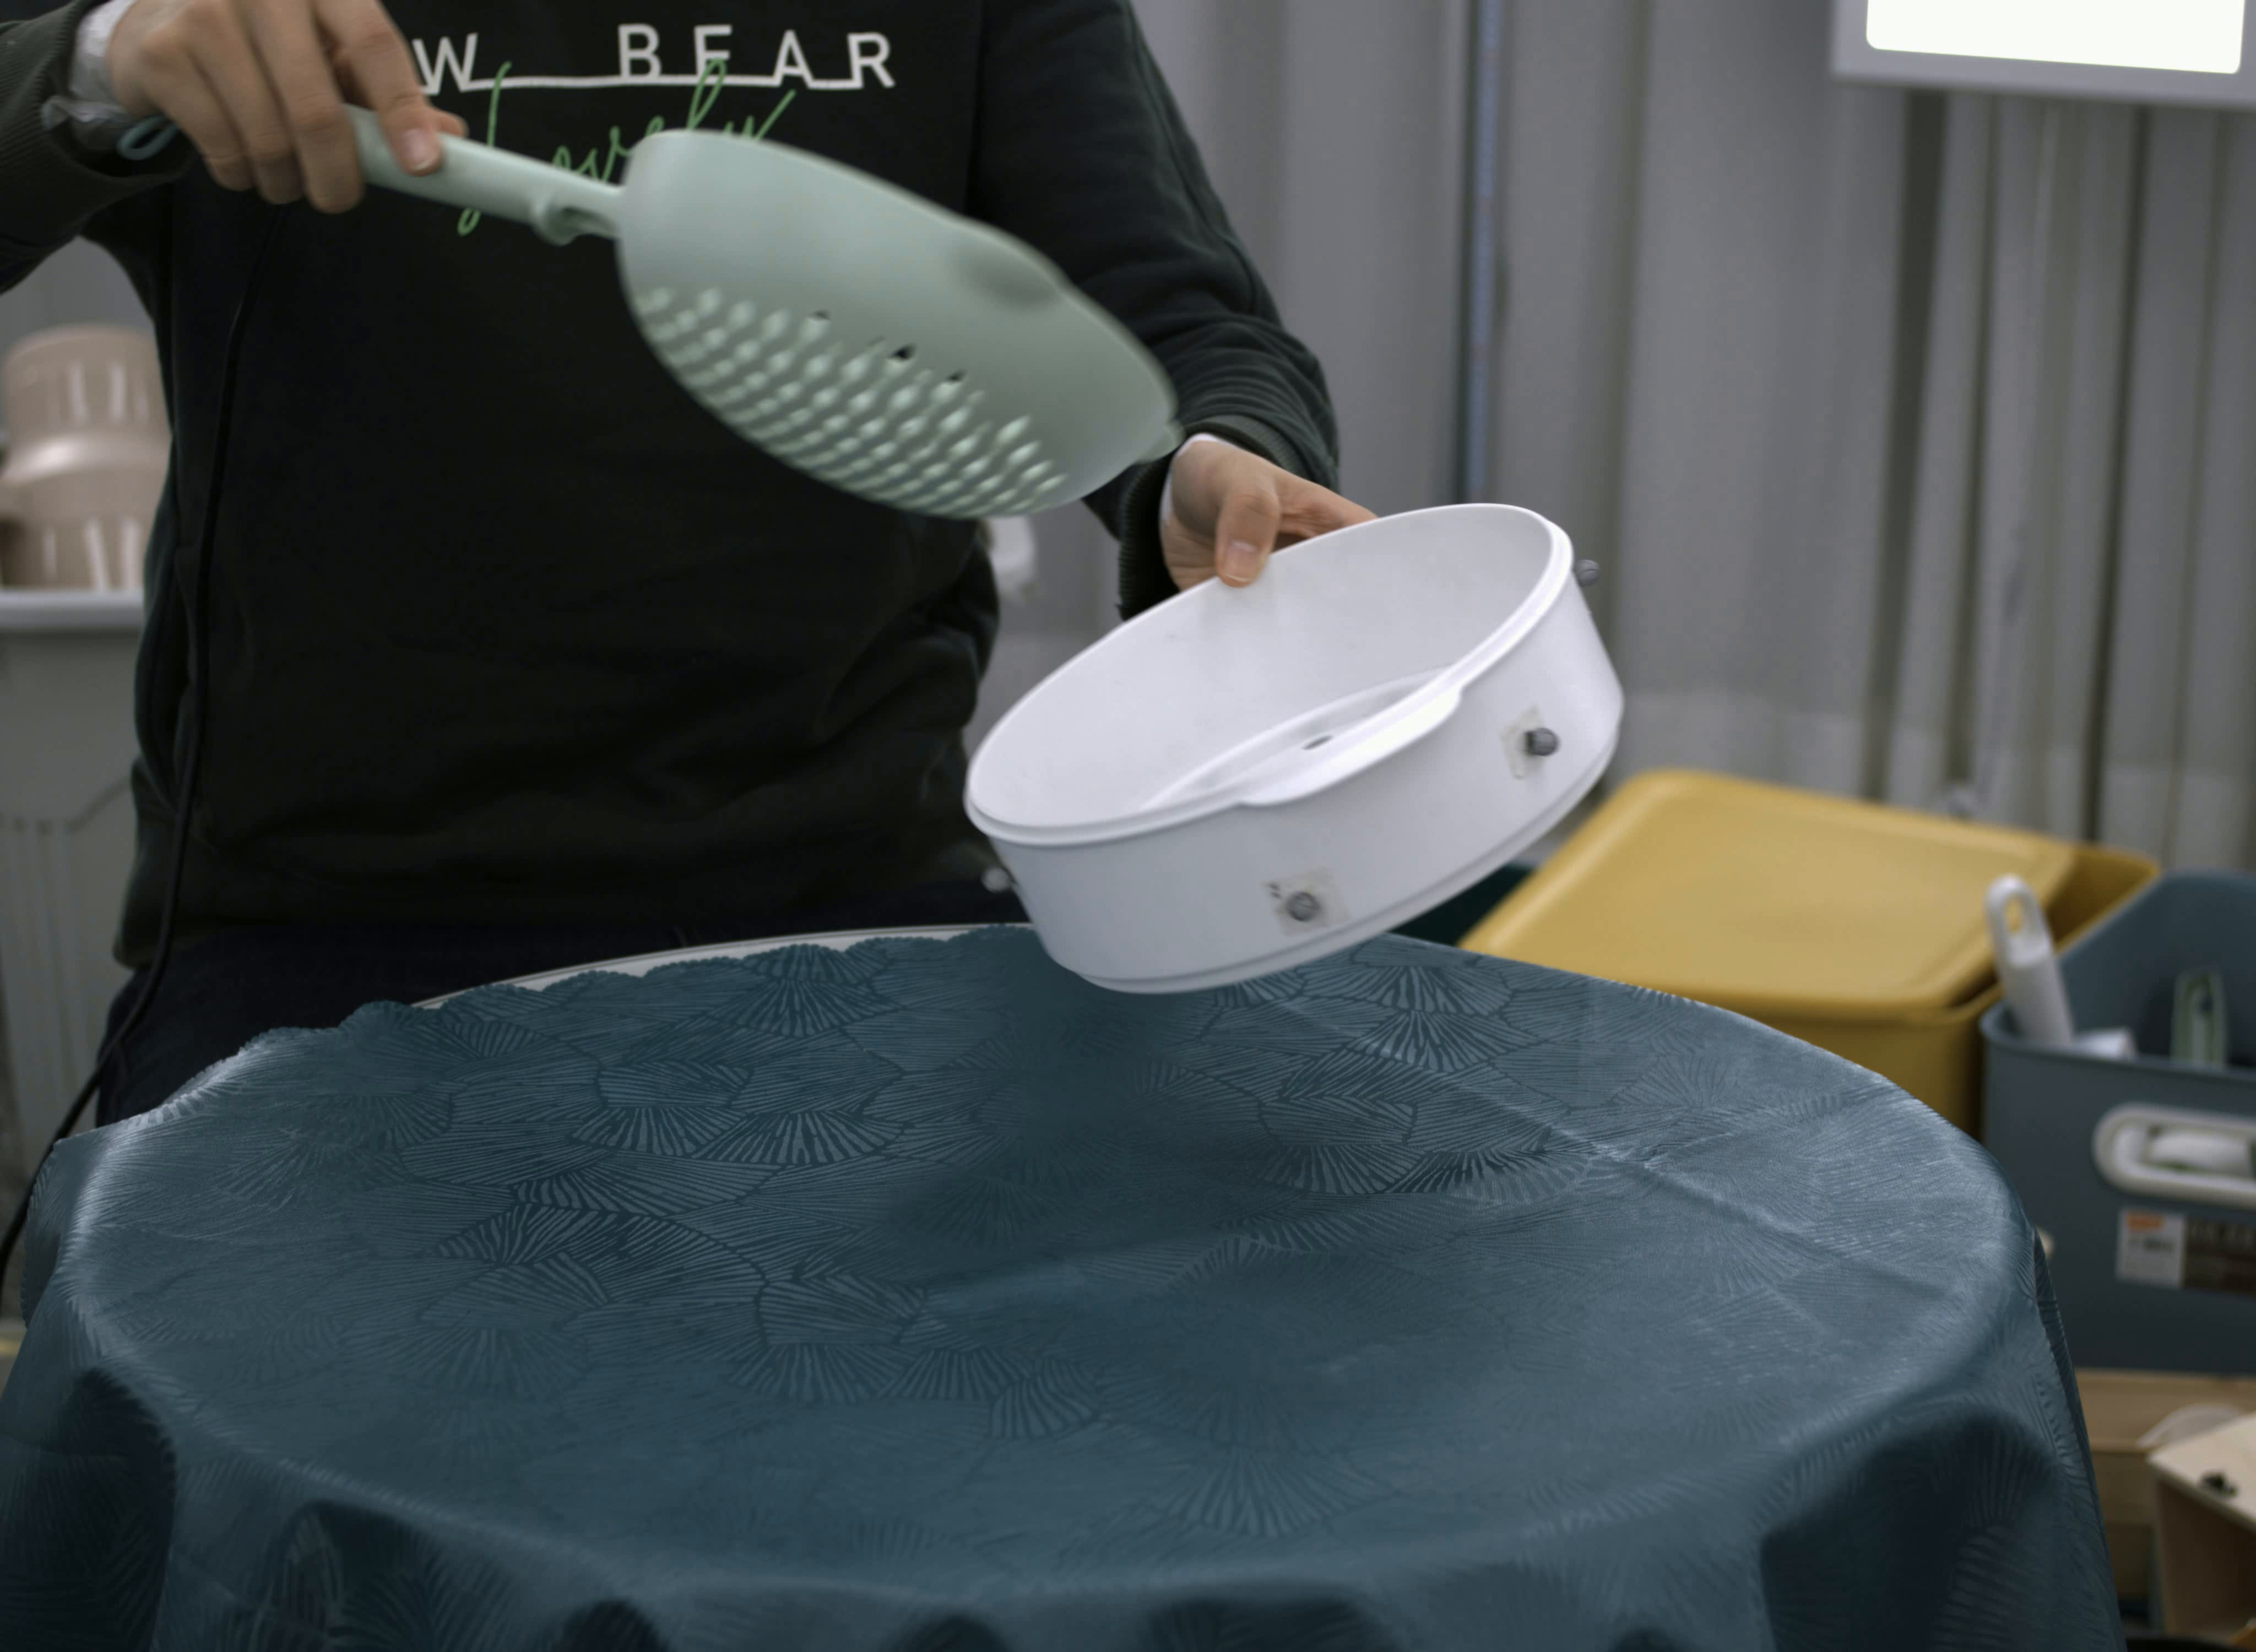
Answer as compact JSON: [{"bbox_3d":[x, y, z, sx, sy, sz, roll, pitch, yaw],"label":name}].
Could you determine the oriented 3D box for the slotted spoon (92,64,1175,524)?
[{"bbox_3d":[-0.153,-0.171,1.522,0.354,0.075,0.171,28,-10,26],"label":"slotted spoon"}]

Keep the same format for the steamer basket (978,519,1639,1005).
[{"bbox_3d":[0.058,-0.019,1.605,0.202,0.070,0.228,-27,19,-7],"label":"steamer basket"}]
